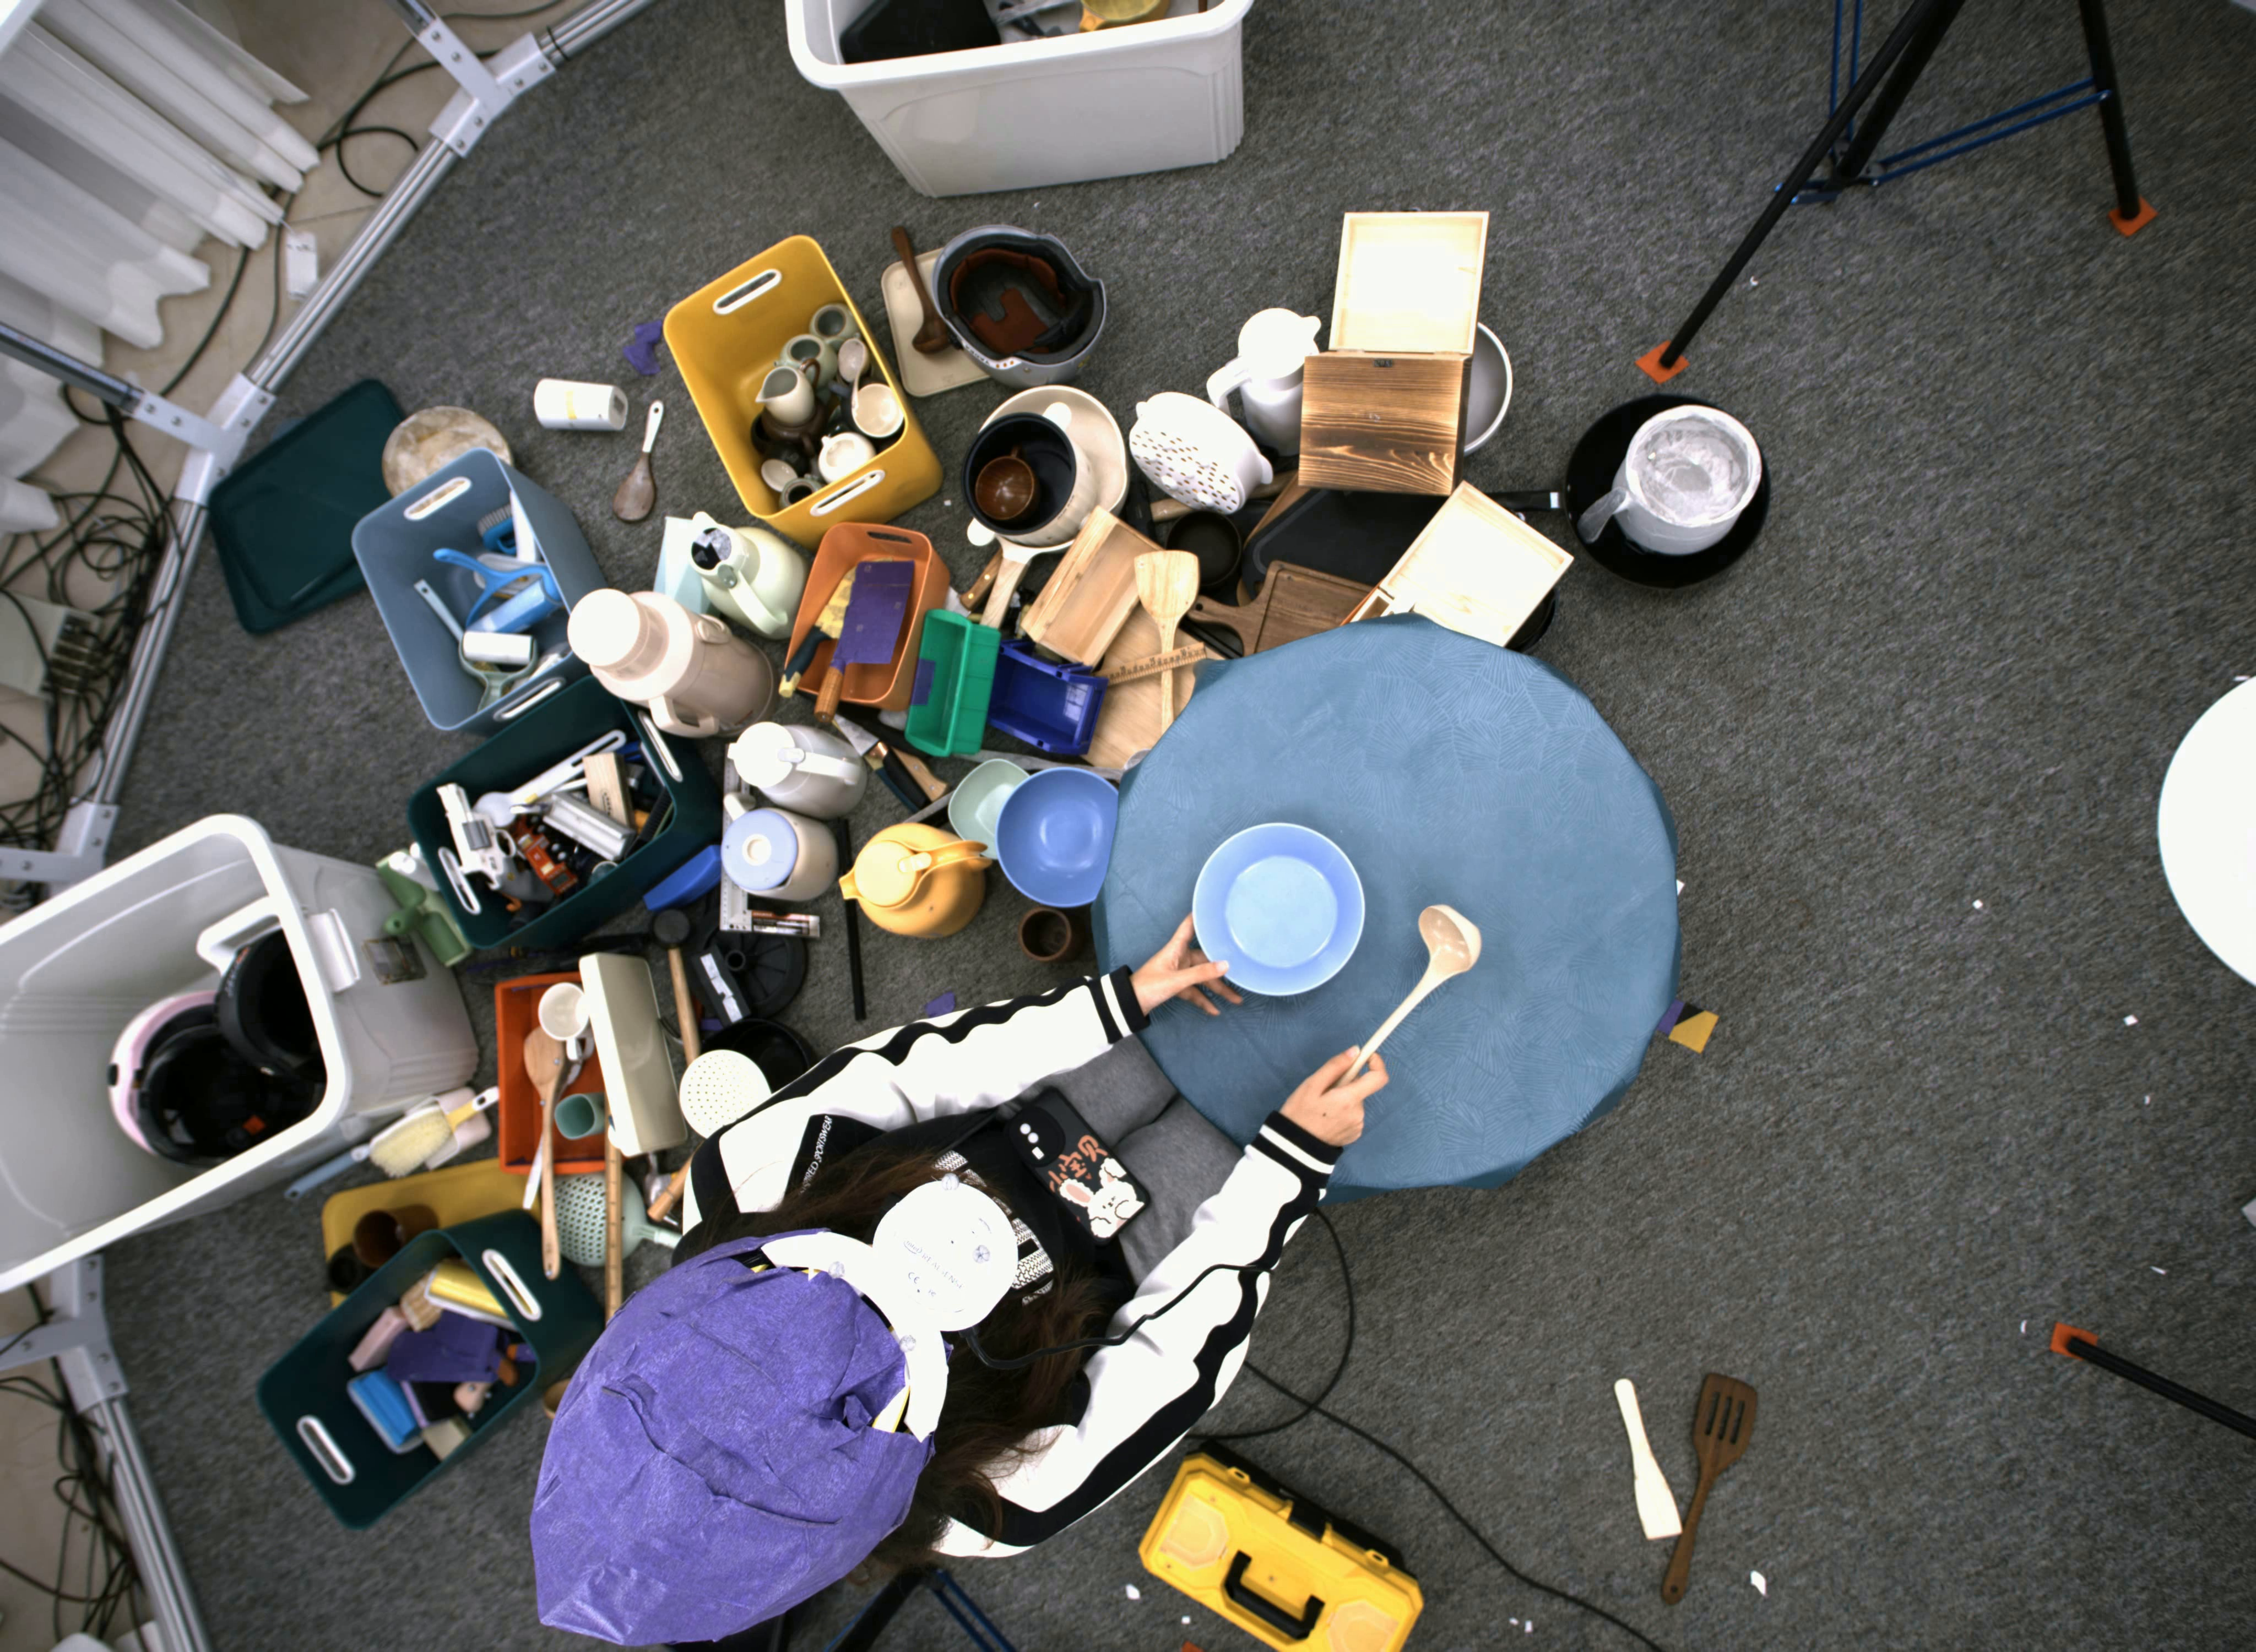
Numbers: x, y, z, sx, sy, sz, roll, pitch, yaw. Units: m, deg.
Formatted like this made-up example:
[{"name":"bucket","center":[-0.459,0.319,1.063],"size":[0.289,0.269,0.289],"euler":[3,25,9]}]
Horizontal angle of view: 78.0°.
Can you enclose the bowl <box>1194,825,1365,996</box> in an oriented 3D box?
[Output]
[{"name":"bowl","center":[0.159,0.089,1.444],"size":[0.177,0.070,0.175],"euler":[-1,85,11]}]

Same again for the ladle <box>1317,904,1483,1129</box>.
[{"name":"ladle","center":[0.255,0.185,1.363],"size":[0.254,0.073,0.071],"euler":[-51,50,-2]}]
